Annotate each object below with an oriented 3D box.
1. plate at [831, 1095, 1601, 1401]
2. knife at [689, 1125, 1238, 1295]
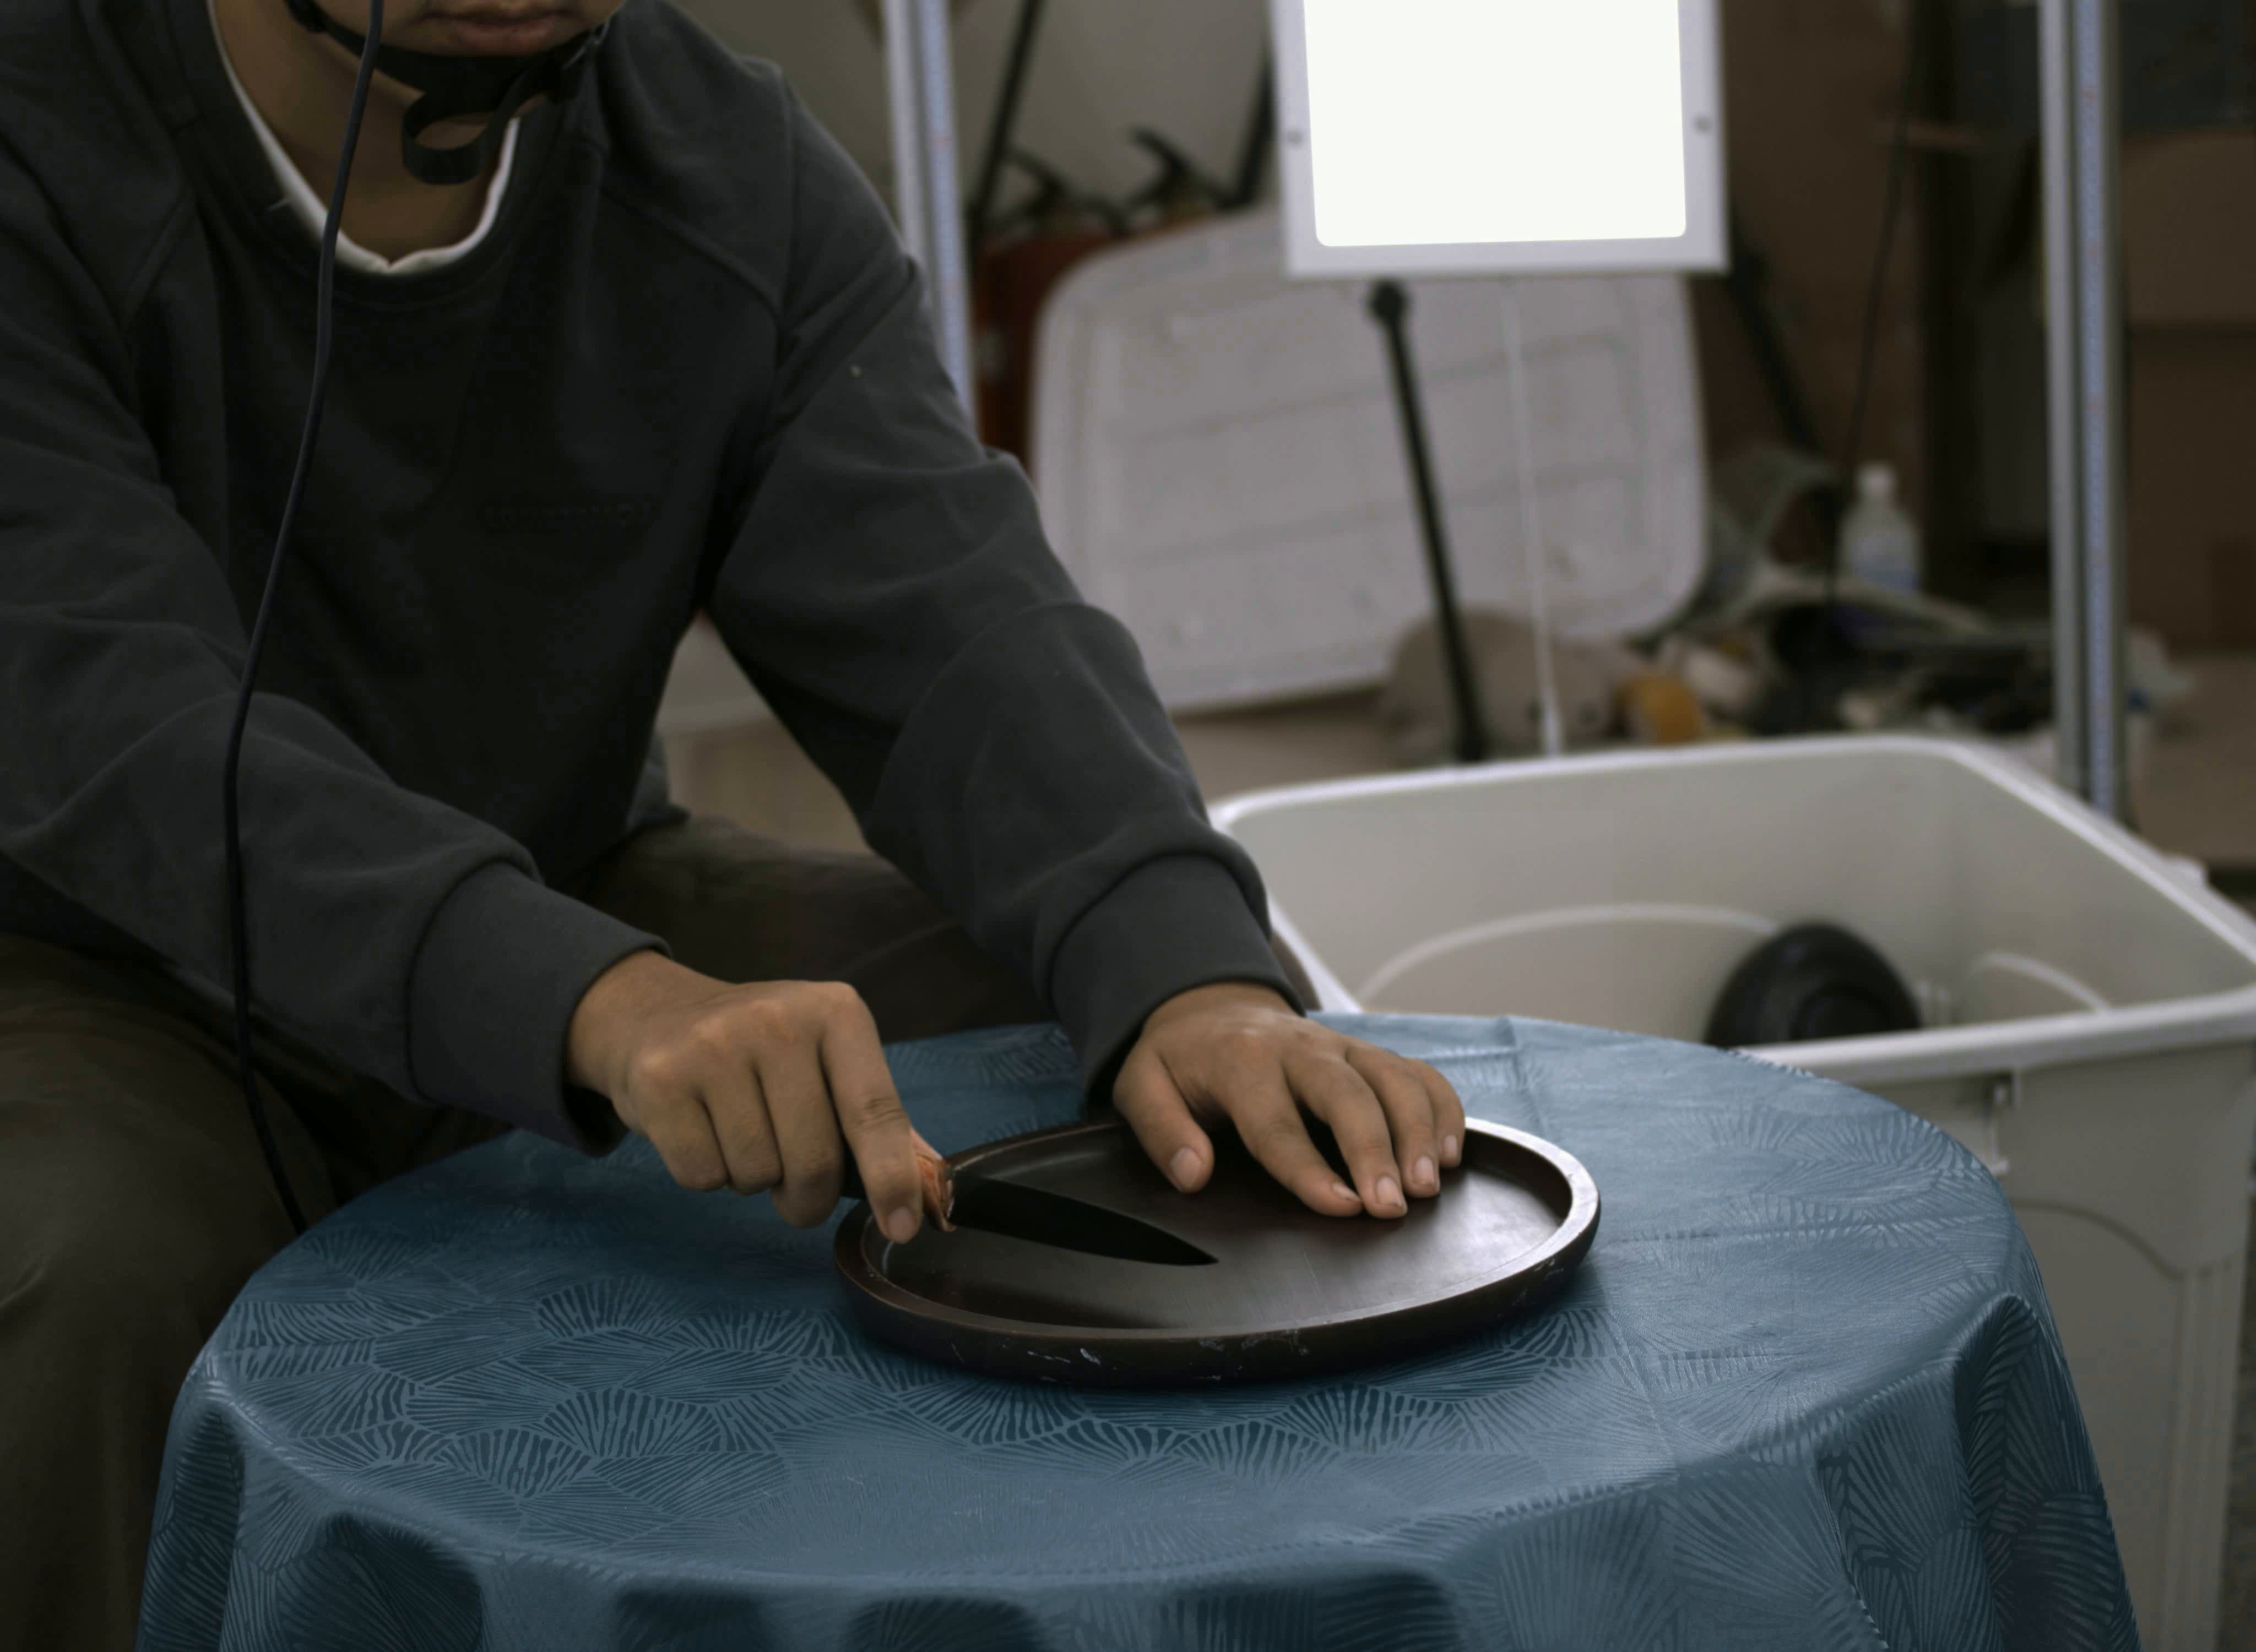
[{"bbox_3d":[0.029,0.136,1.801,0.254,0.029,0.254,-7,13,0],"label":"plate"},{"bbox_3d":[-0.056,0.124,1.797,0.230,0.026,0.017,10,27,38],"label":"knife"}]
